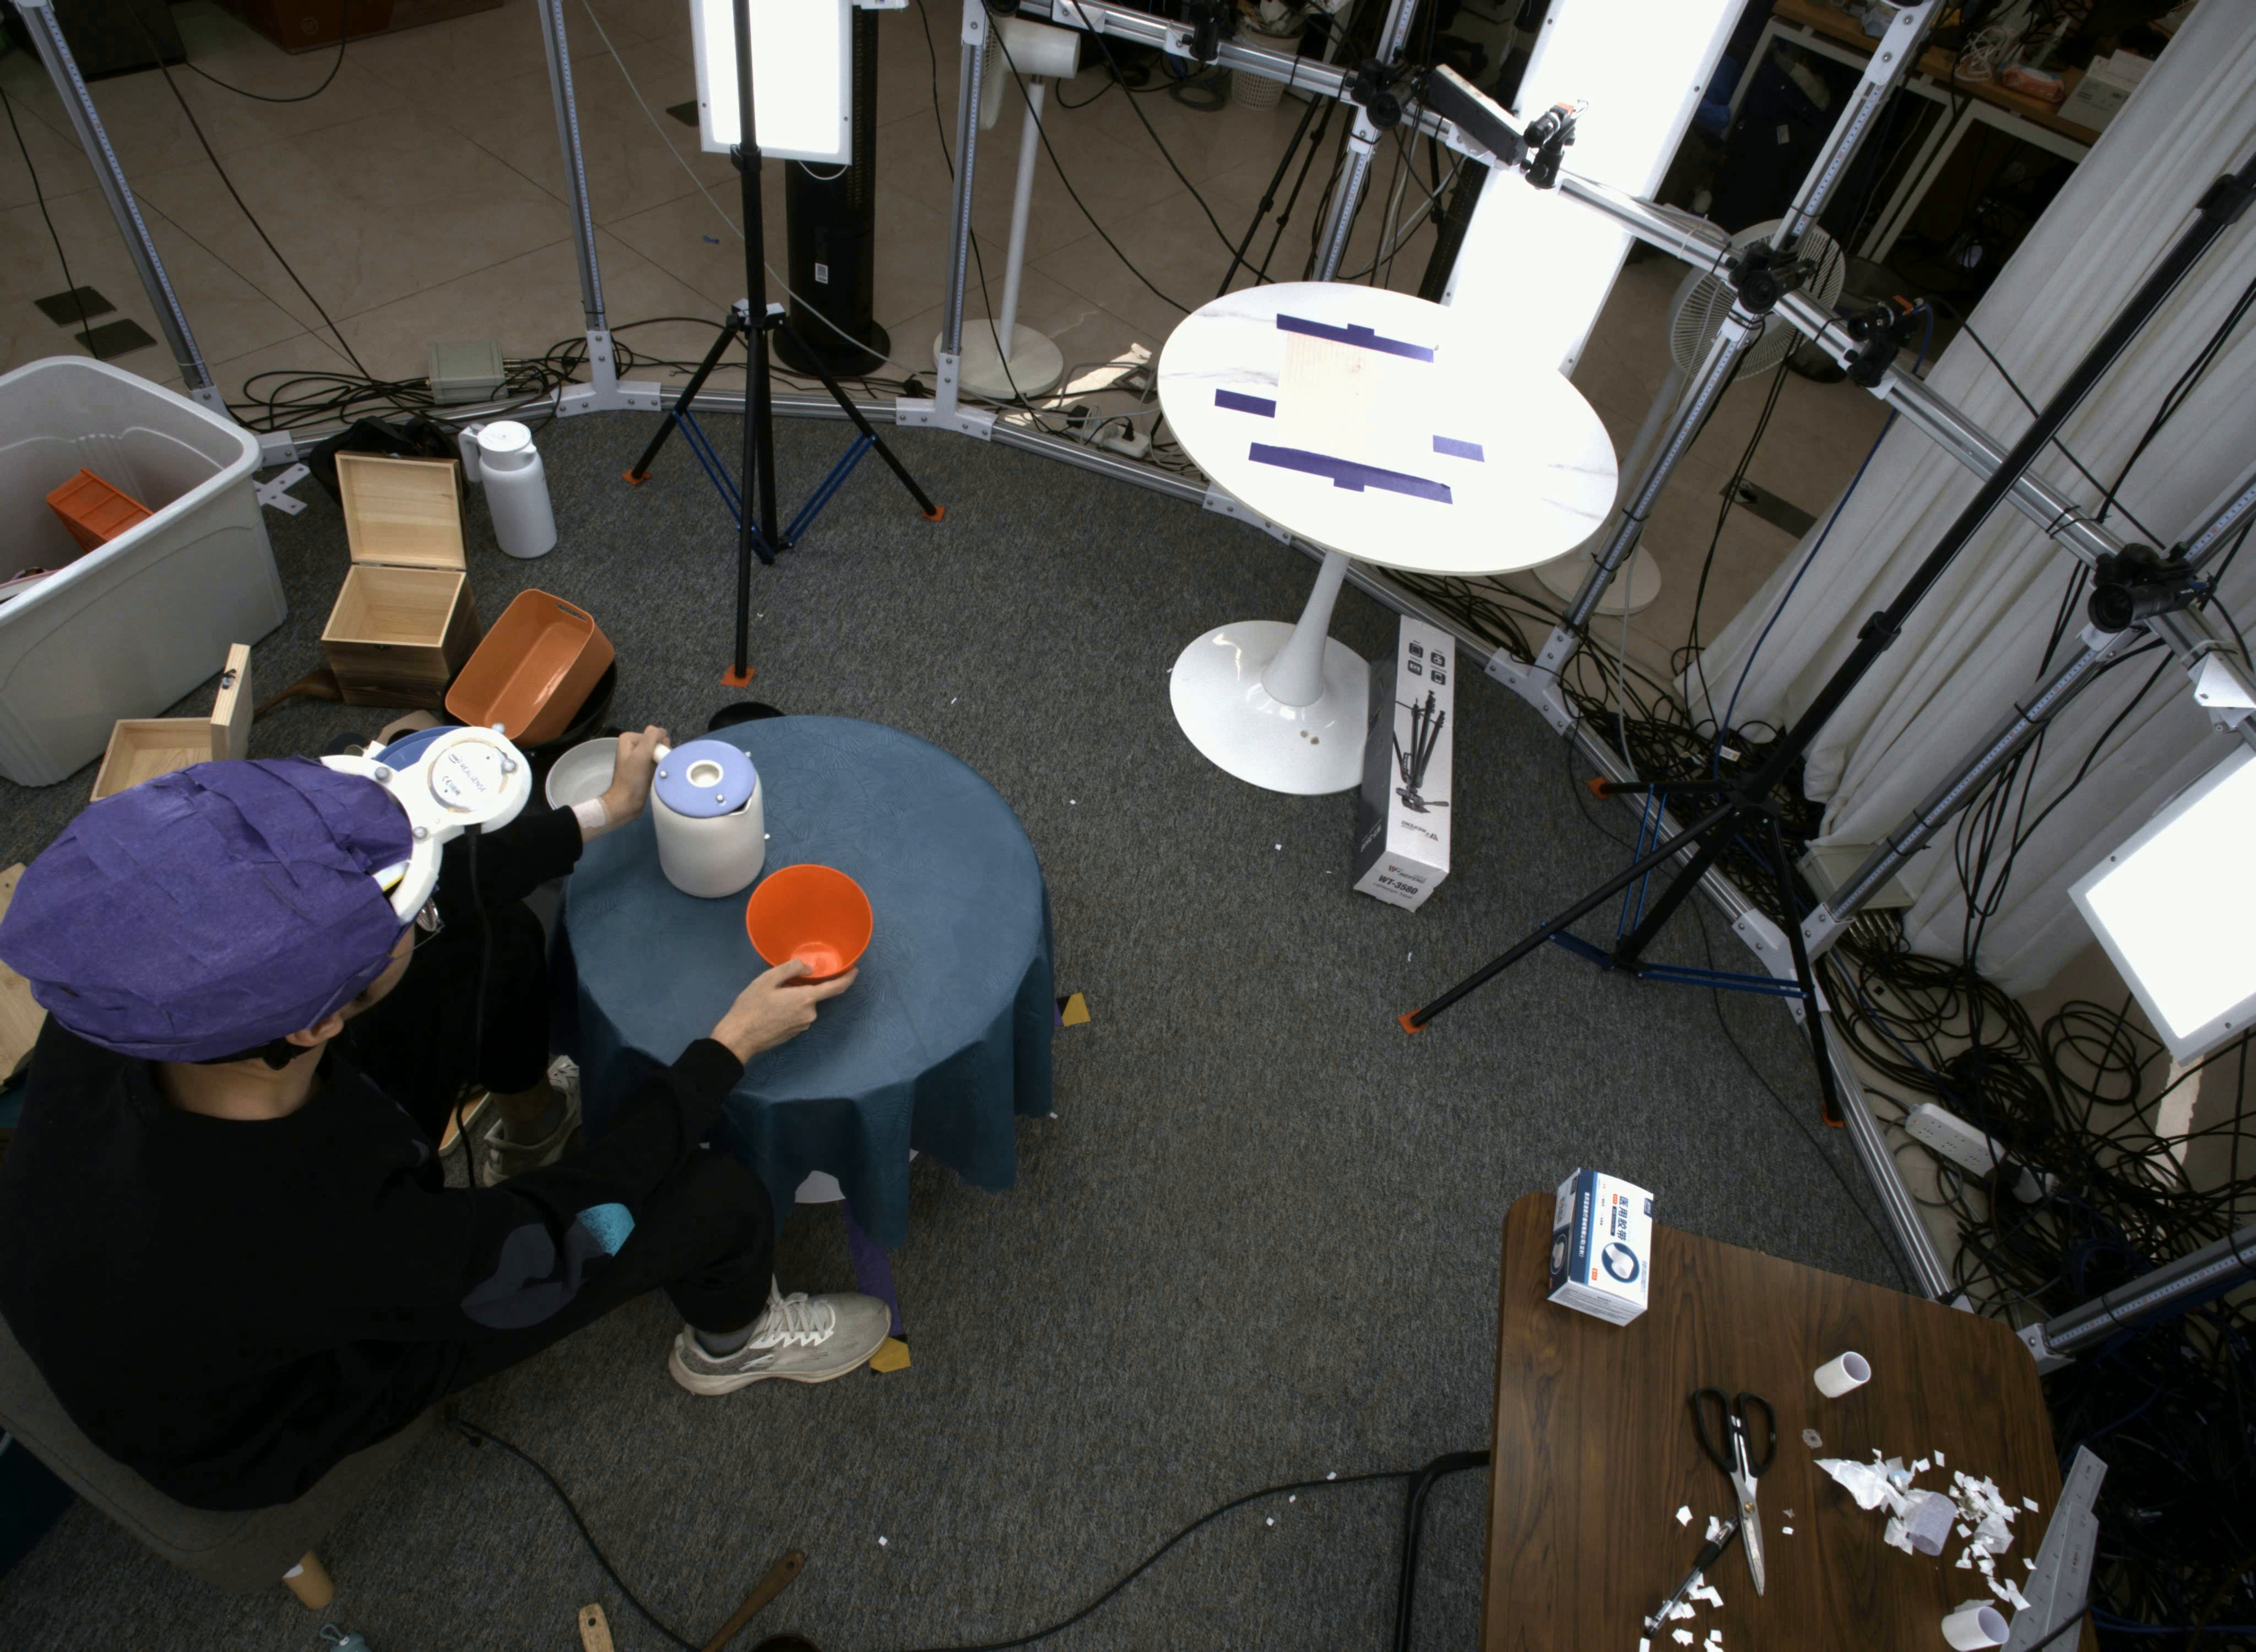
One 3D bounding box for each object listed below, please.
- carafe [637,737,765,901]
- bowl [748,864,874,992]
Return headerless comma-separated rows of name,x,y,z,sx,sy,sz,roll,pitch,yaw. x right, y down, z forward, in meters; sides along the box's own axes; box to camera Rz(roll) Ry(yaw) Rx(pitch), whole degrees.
carafe,-0.541,-0.022,1.605,0.187,0.187,0.132,32,51,14
bowl,-0.383,0.135,1.577,0.147,0.107,0.145,7,51,-8
